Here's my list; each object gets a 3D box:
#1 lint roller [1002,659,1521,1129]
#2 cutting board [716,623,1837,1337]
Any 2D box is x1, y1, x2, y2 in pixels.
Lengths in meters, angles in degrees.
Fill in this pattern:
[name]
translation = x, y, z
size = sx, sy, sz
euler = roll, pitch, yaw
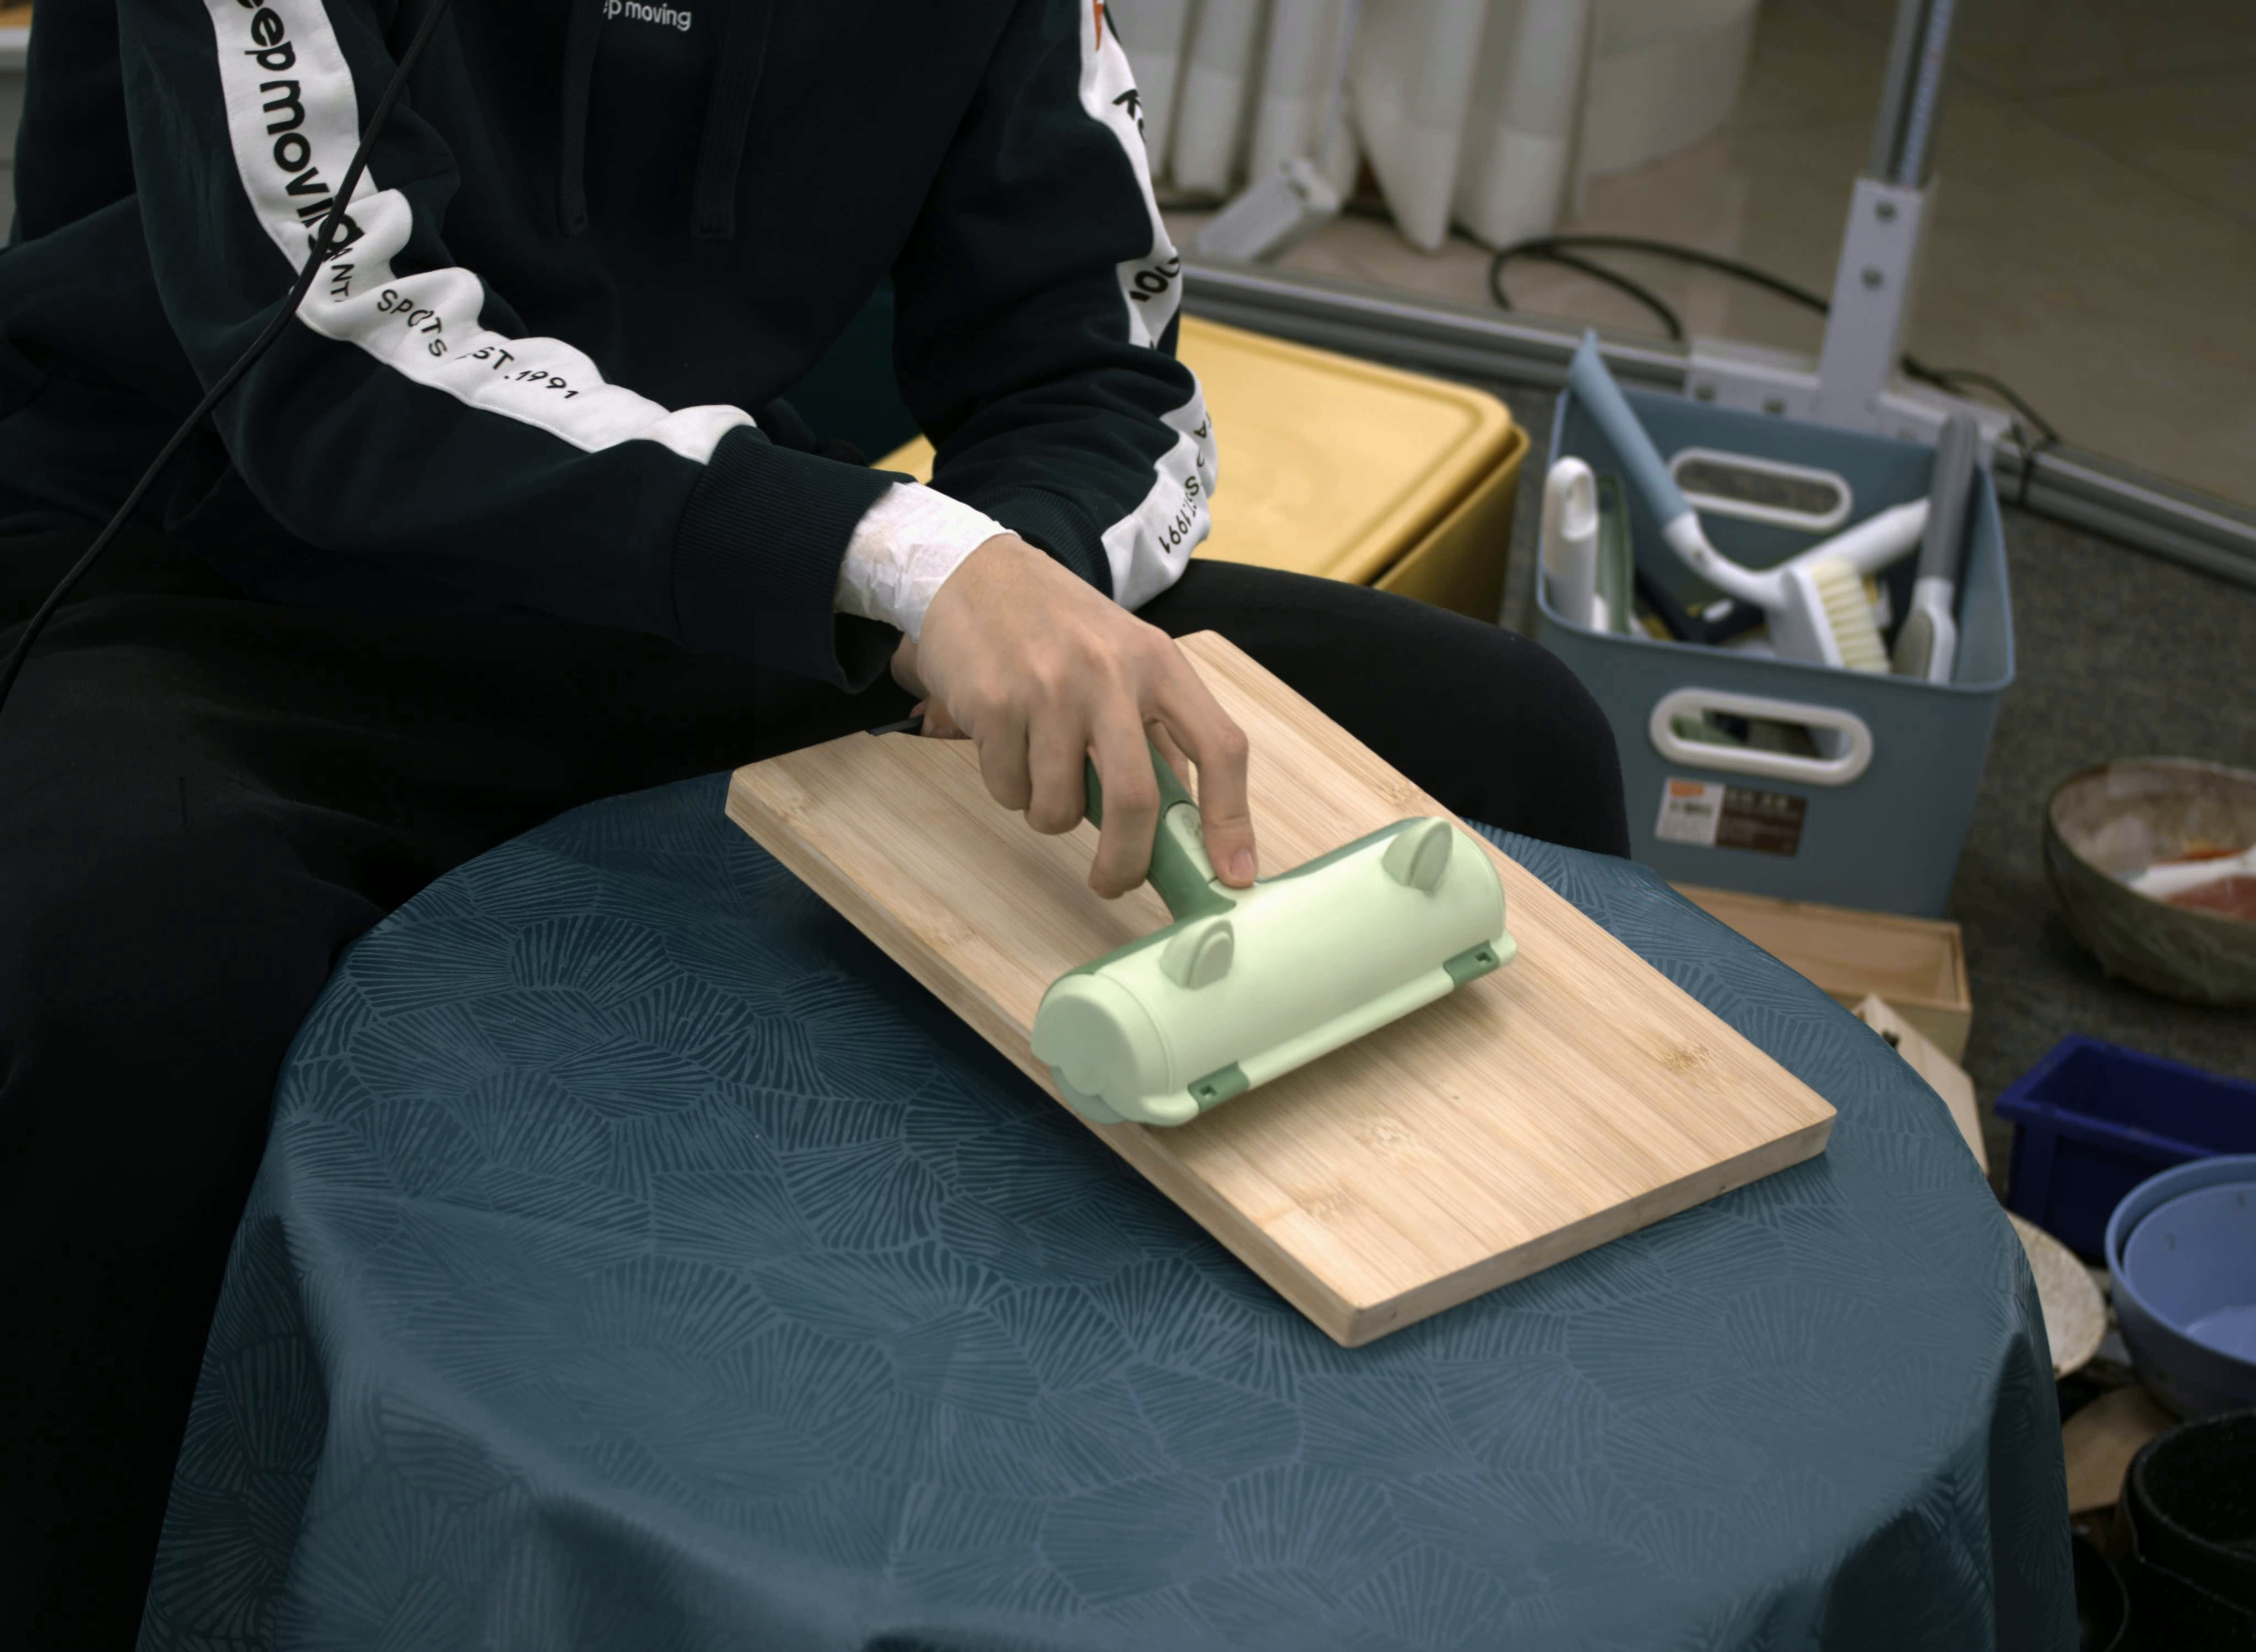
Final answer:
[lint roller]
translation = 0.025, 0.001, 1.829
size = 0.198, 0.082, 0.184
euler = -22, 72, -42
[cutting board]
translation = 0.049, 0.046, 1.894
size = 0.249, 0.023, 0.351
euler = -18, 43, -39
